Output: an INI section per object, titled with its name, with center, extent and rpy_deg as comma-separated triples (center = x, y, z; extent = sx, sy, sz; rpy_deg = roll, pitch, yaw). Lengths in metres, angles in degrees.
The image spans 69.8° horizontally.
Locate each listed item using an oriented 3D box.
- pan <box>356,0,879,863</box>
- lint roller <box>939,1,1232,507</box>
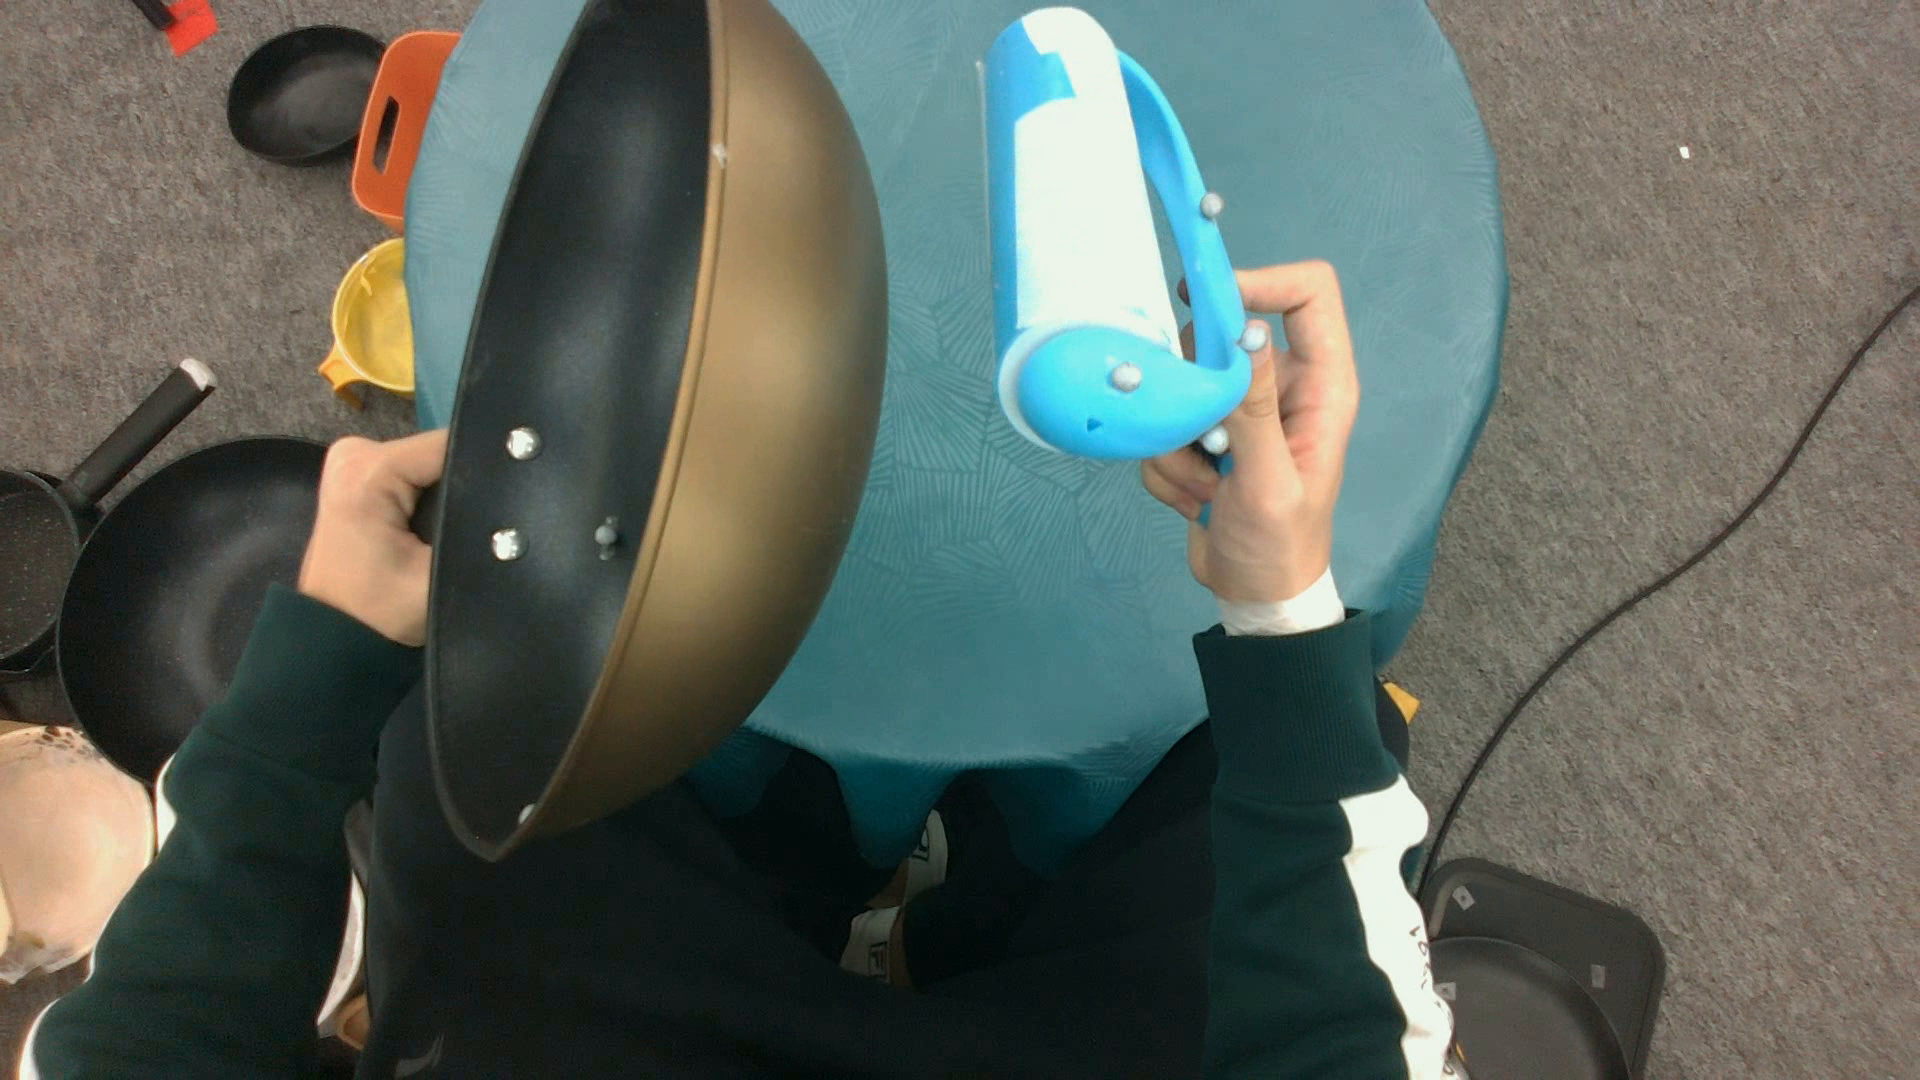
[pan]
center = -0.148, -0.023, 0.517
extent = 0.087, 0.461, 0.289
rpy_deg = 11, 71, -30
[lint roller]
center = 0.061, -0.082, 0.491
extent = 0.068, 0.180, 0.230
rpy_deg = -31, 41, 21
